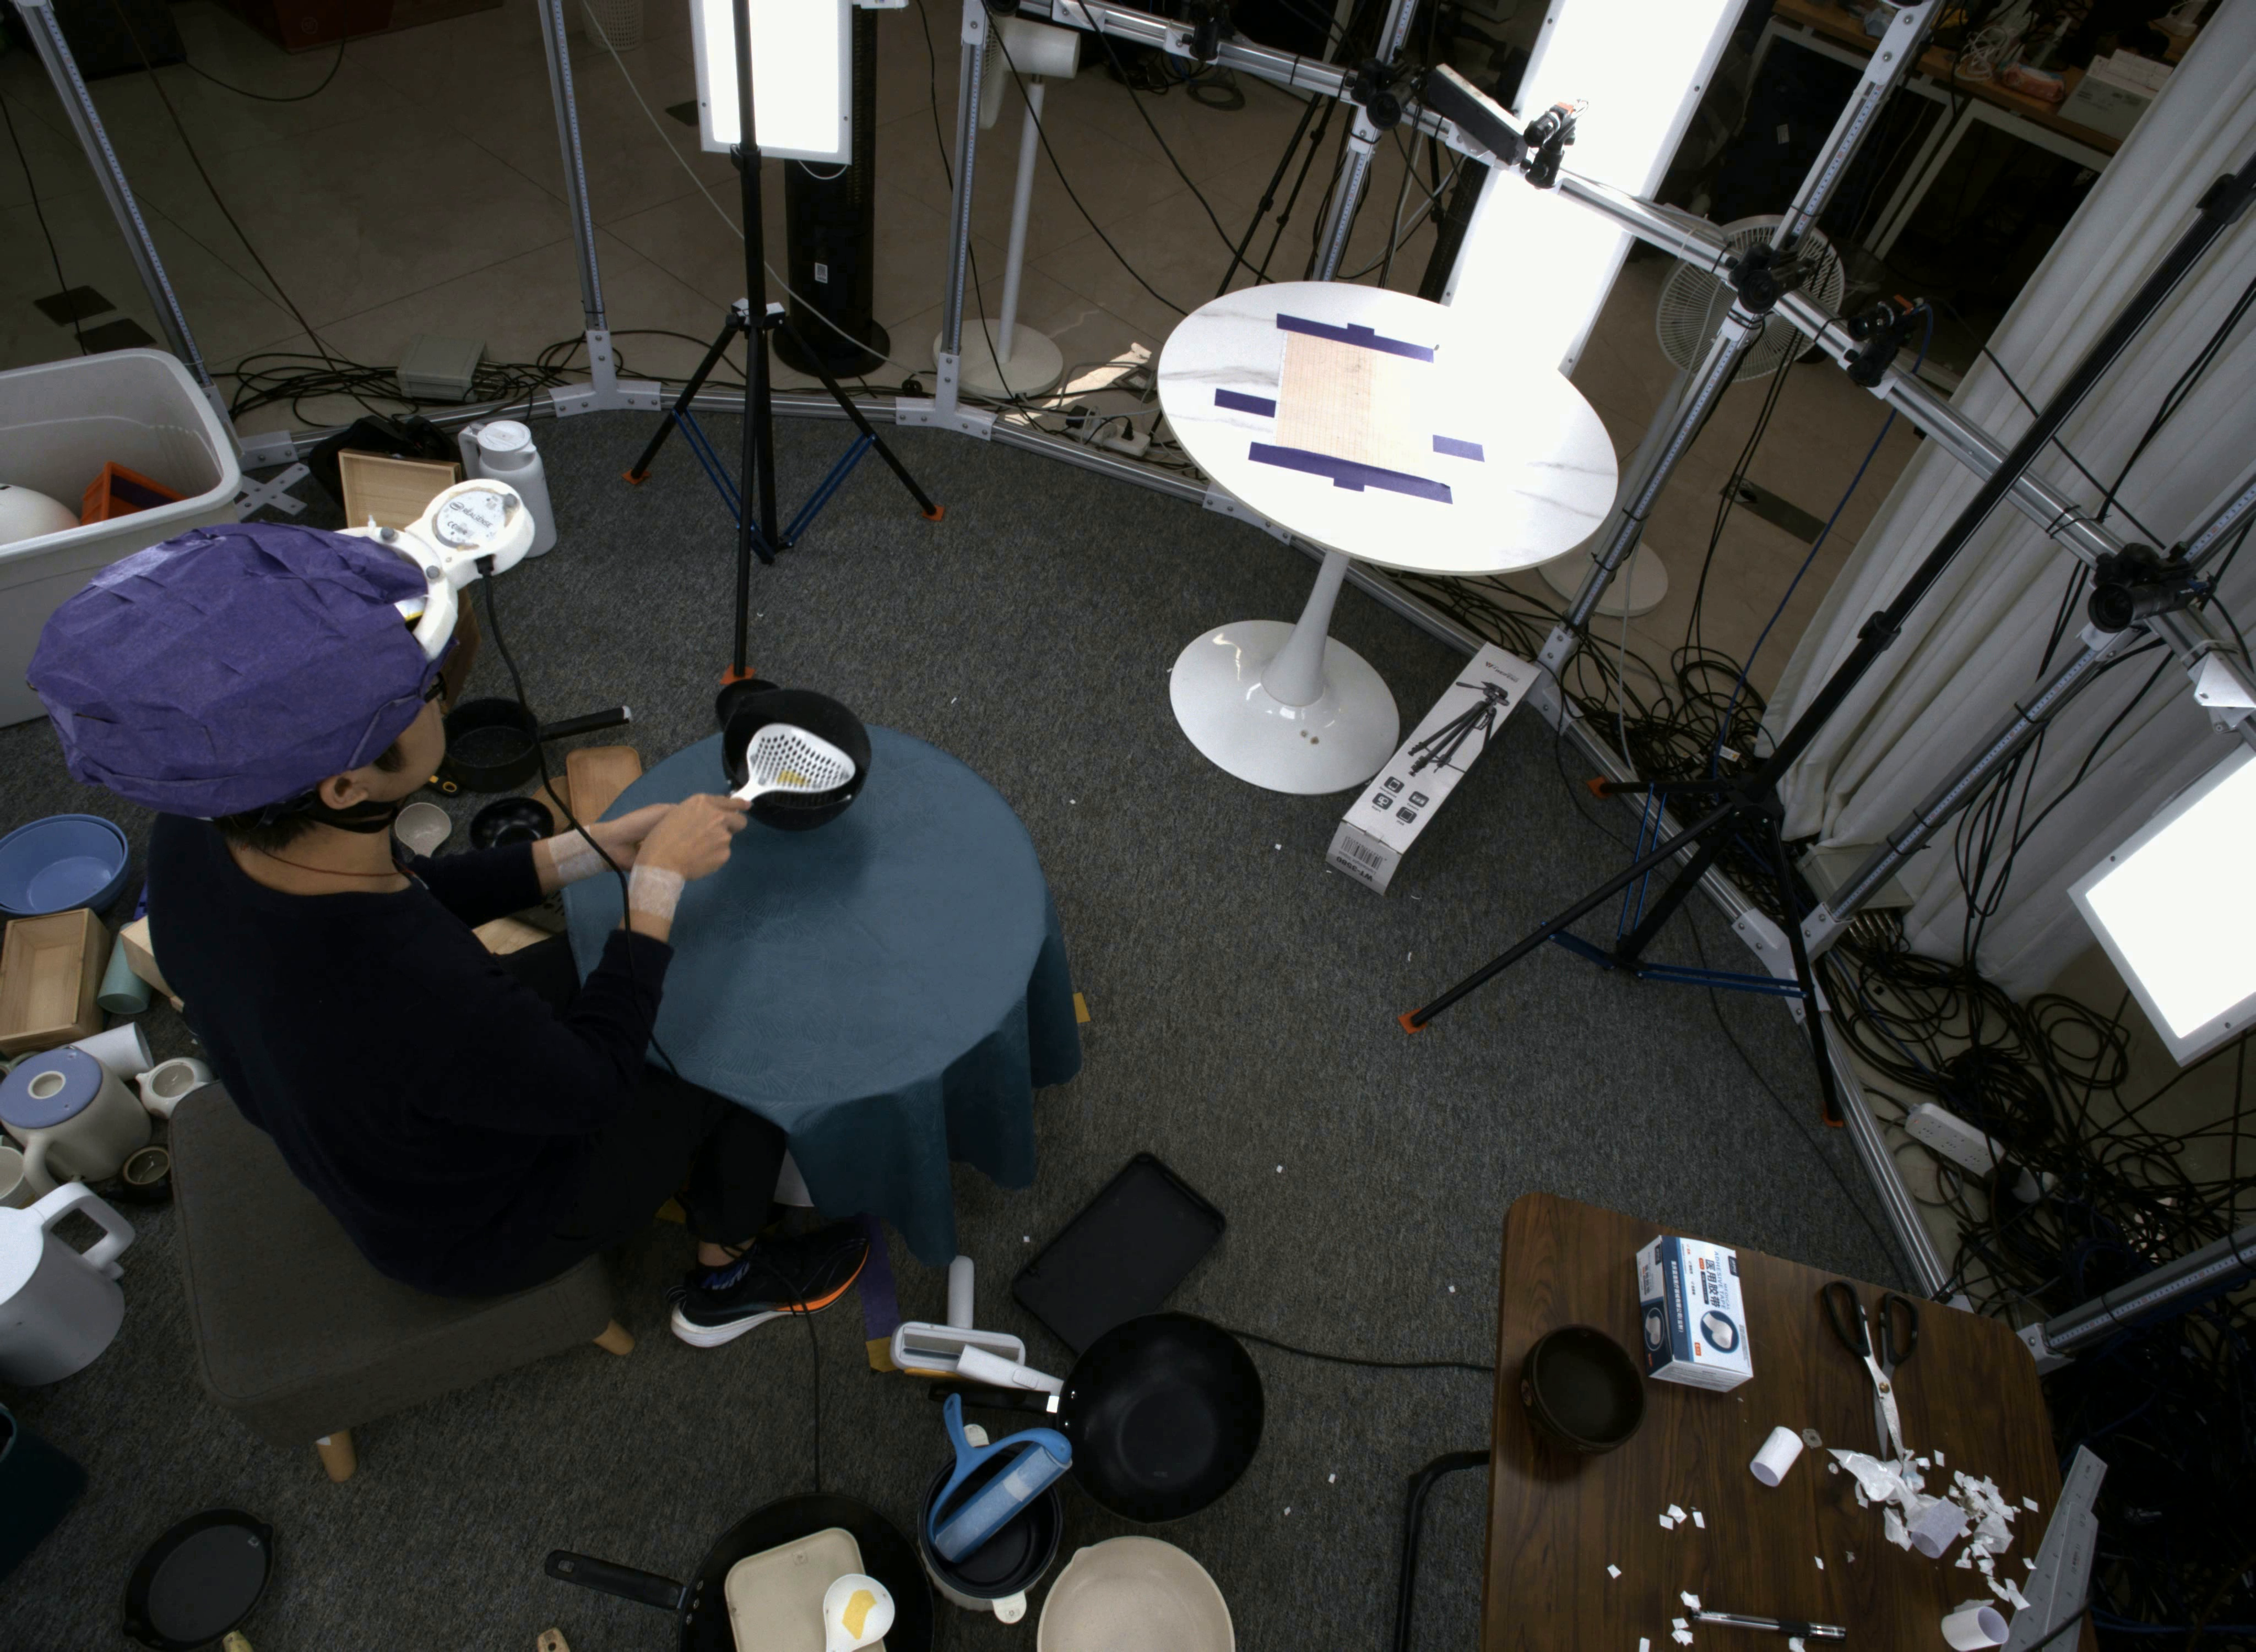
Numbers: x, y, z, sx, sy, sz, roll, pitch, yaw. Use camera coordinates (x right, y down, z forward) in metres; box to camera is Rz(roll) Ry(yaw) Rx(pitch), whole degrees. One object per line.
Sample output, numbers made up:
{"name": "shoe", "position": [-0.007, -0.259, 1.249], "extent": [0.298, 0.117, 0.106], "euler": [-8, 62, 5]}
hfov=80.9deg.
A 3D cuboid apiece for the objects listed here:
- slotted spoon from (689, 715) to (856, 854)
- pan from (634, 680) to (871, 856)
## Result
{"name": "slotted spoon", "position": [-0.443, -0.050, 1.558], "extent": [0.136, 0.051, 0.345], "euler": [30, 21, -1]}
{"name": "pan", "position": [-0.467, -0.045, 1.587], "extent": [0.206, 0.109, 0.342], "euler": [42, 52, 4]}
